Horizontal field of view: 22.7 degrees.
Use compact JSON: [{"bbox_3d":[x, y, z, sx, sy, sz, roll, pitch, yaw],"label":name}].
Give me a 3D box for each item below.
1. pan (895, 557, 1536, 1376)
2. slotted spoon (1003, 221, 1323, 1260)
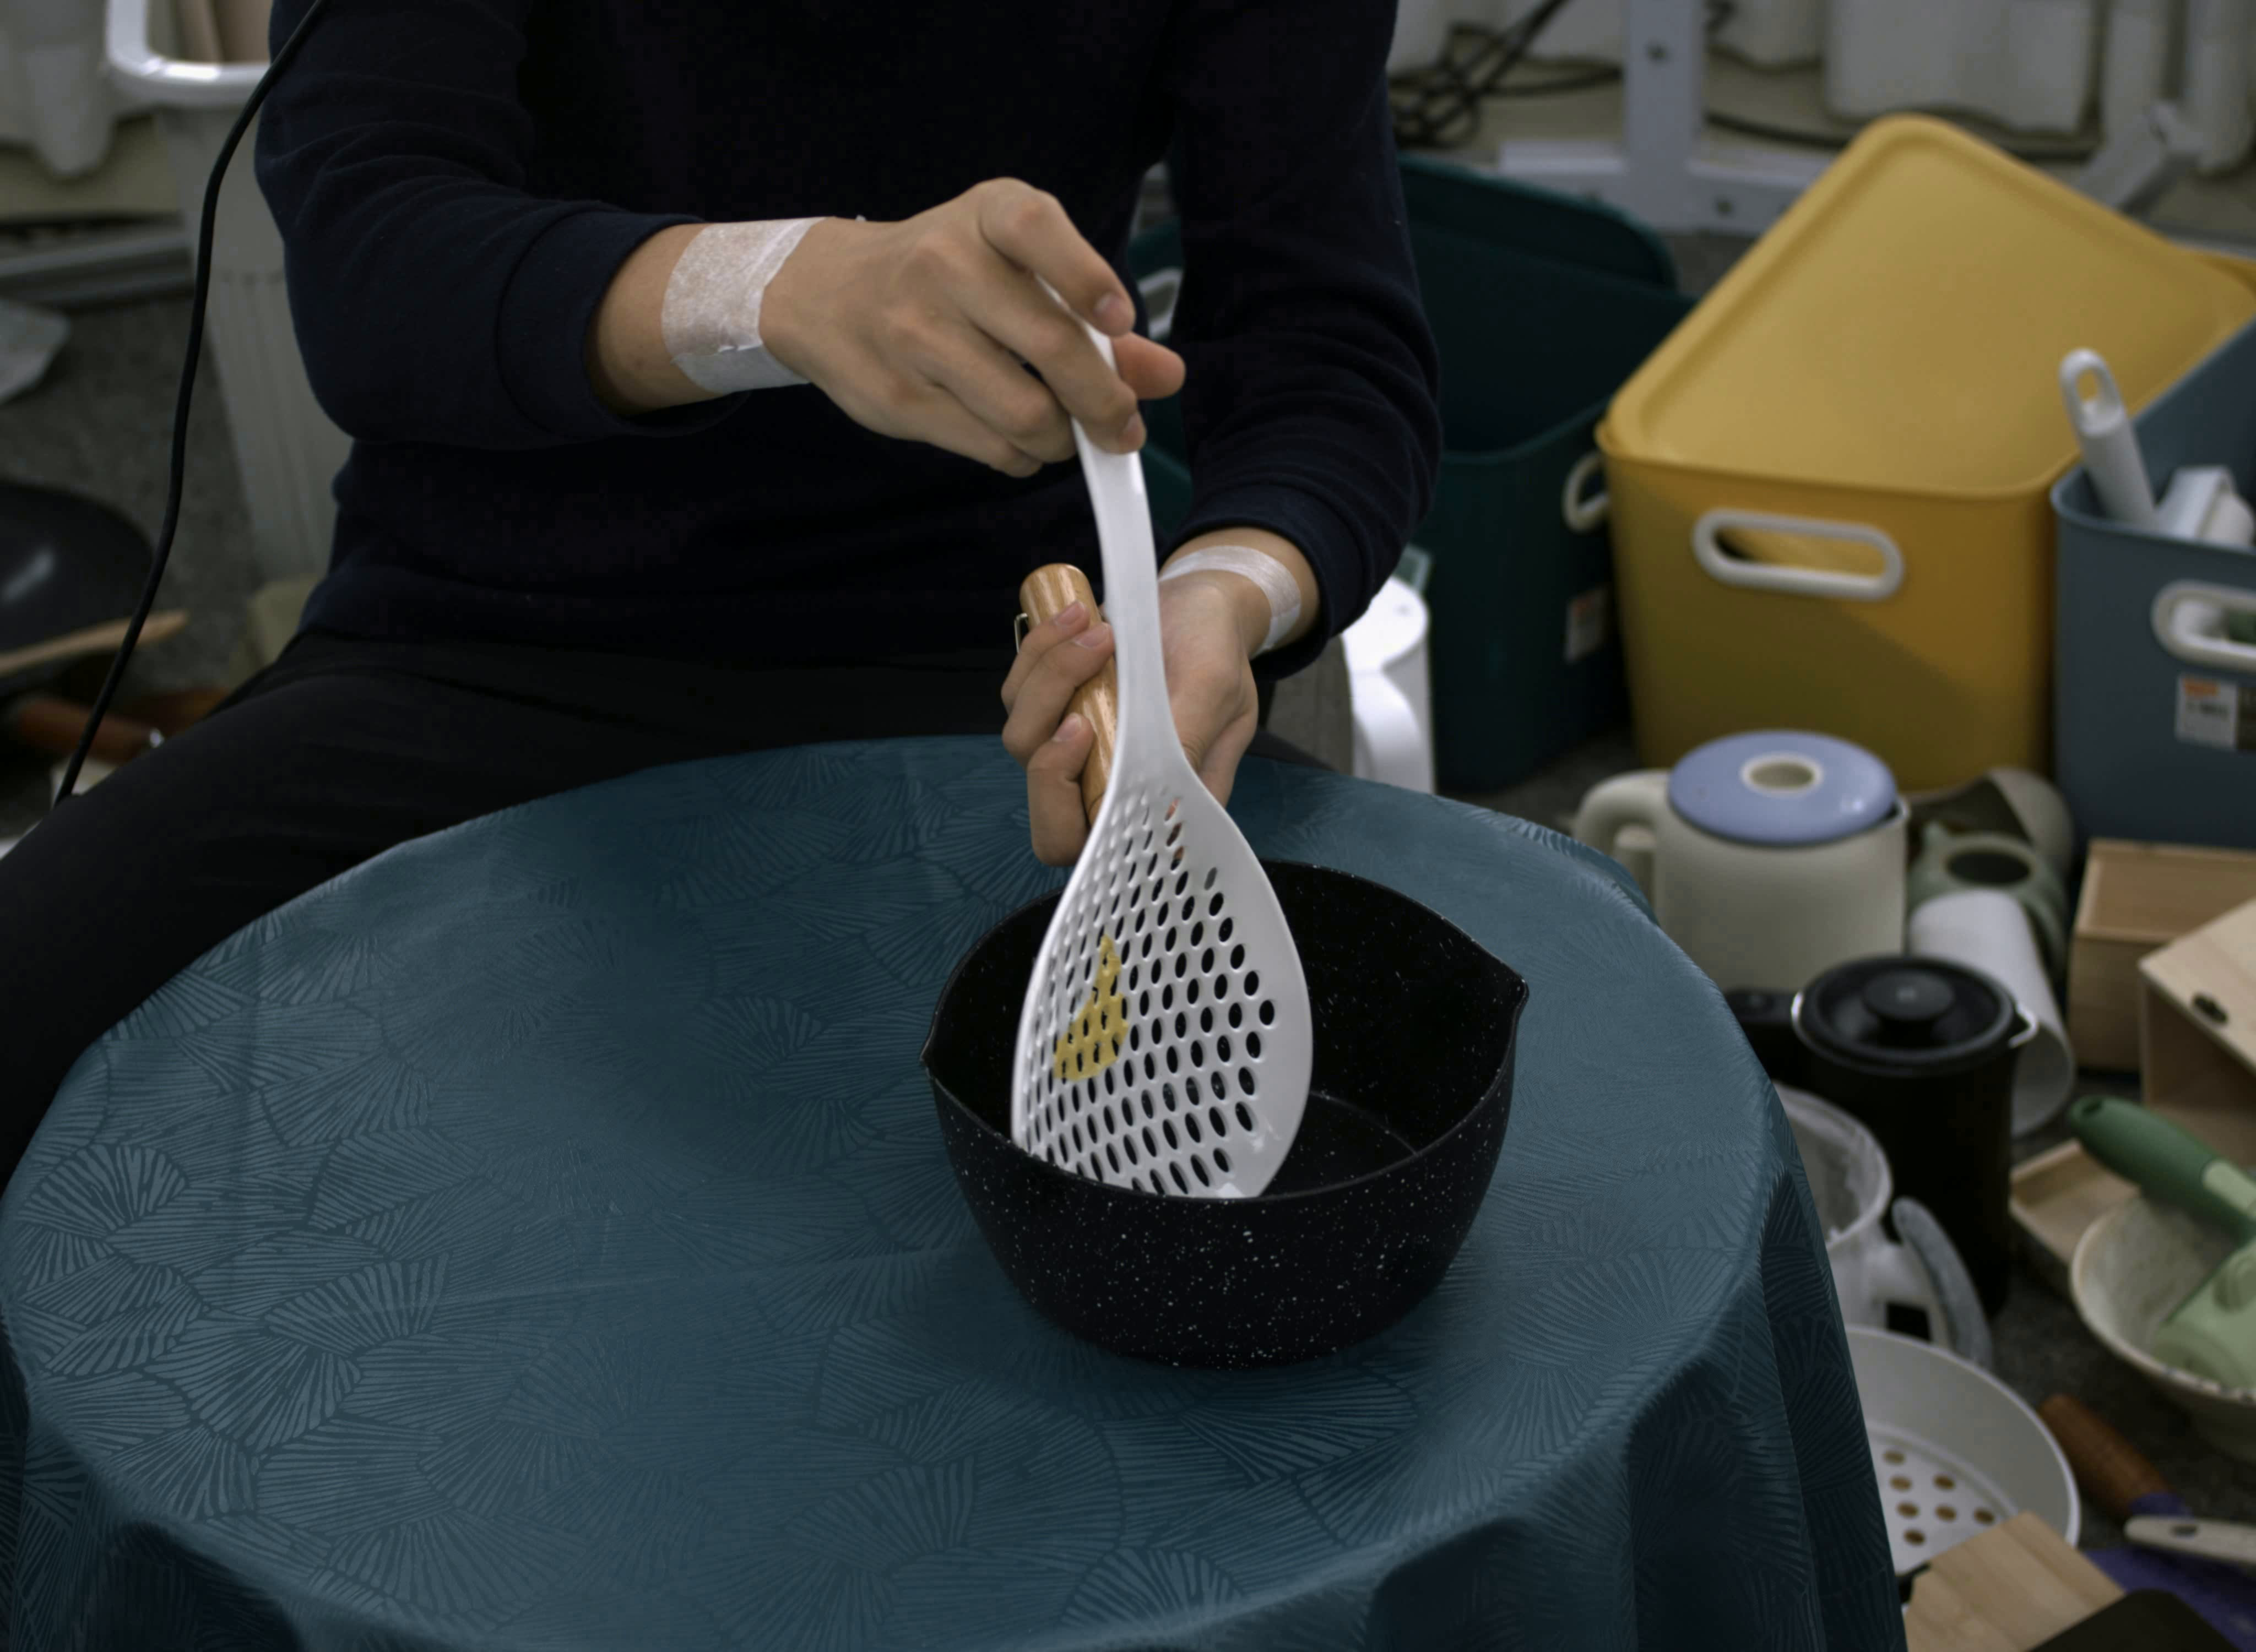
[{"bbox_3d":[0.011,0.043,1.861,0.207,0.107,0.347,-9,36,-11],"label":"pan"},{"bbox_3d":[-0.005,-0.020,1.743,0.050,0.344,0.138,22,35,40],"label":"slotted spoon"}]
